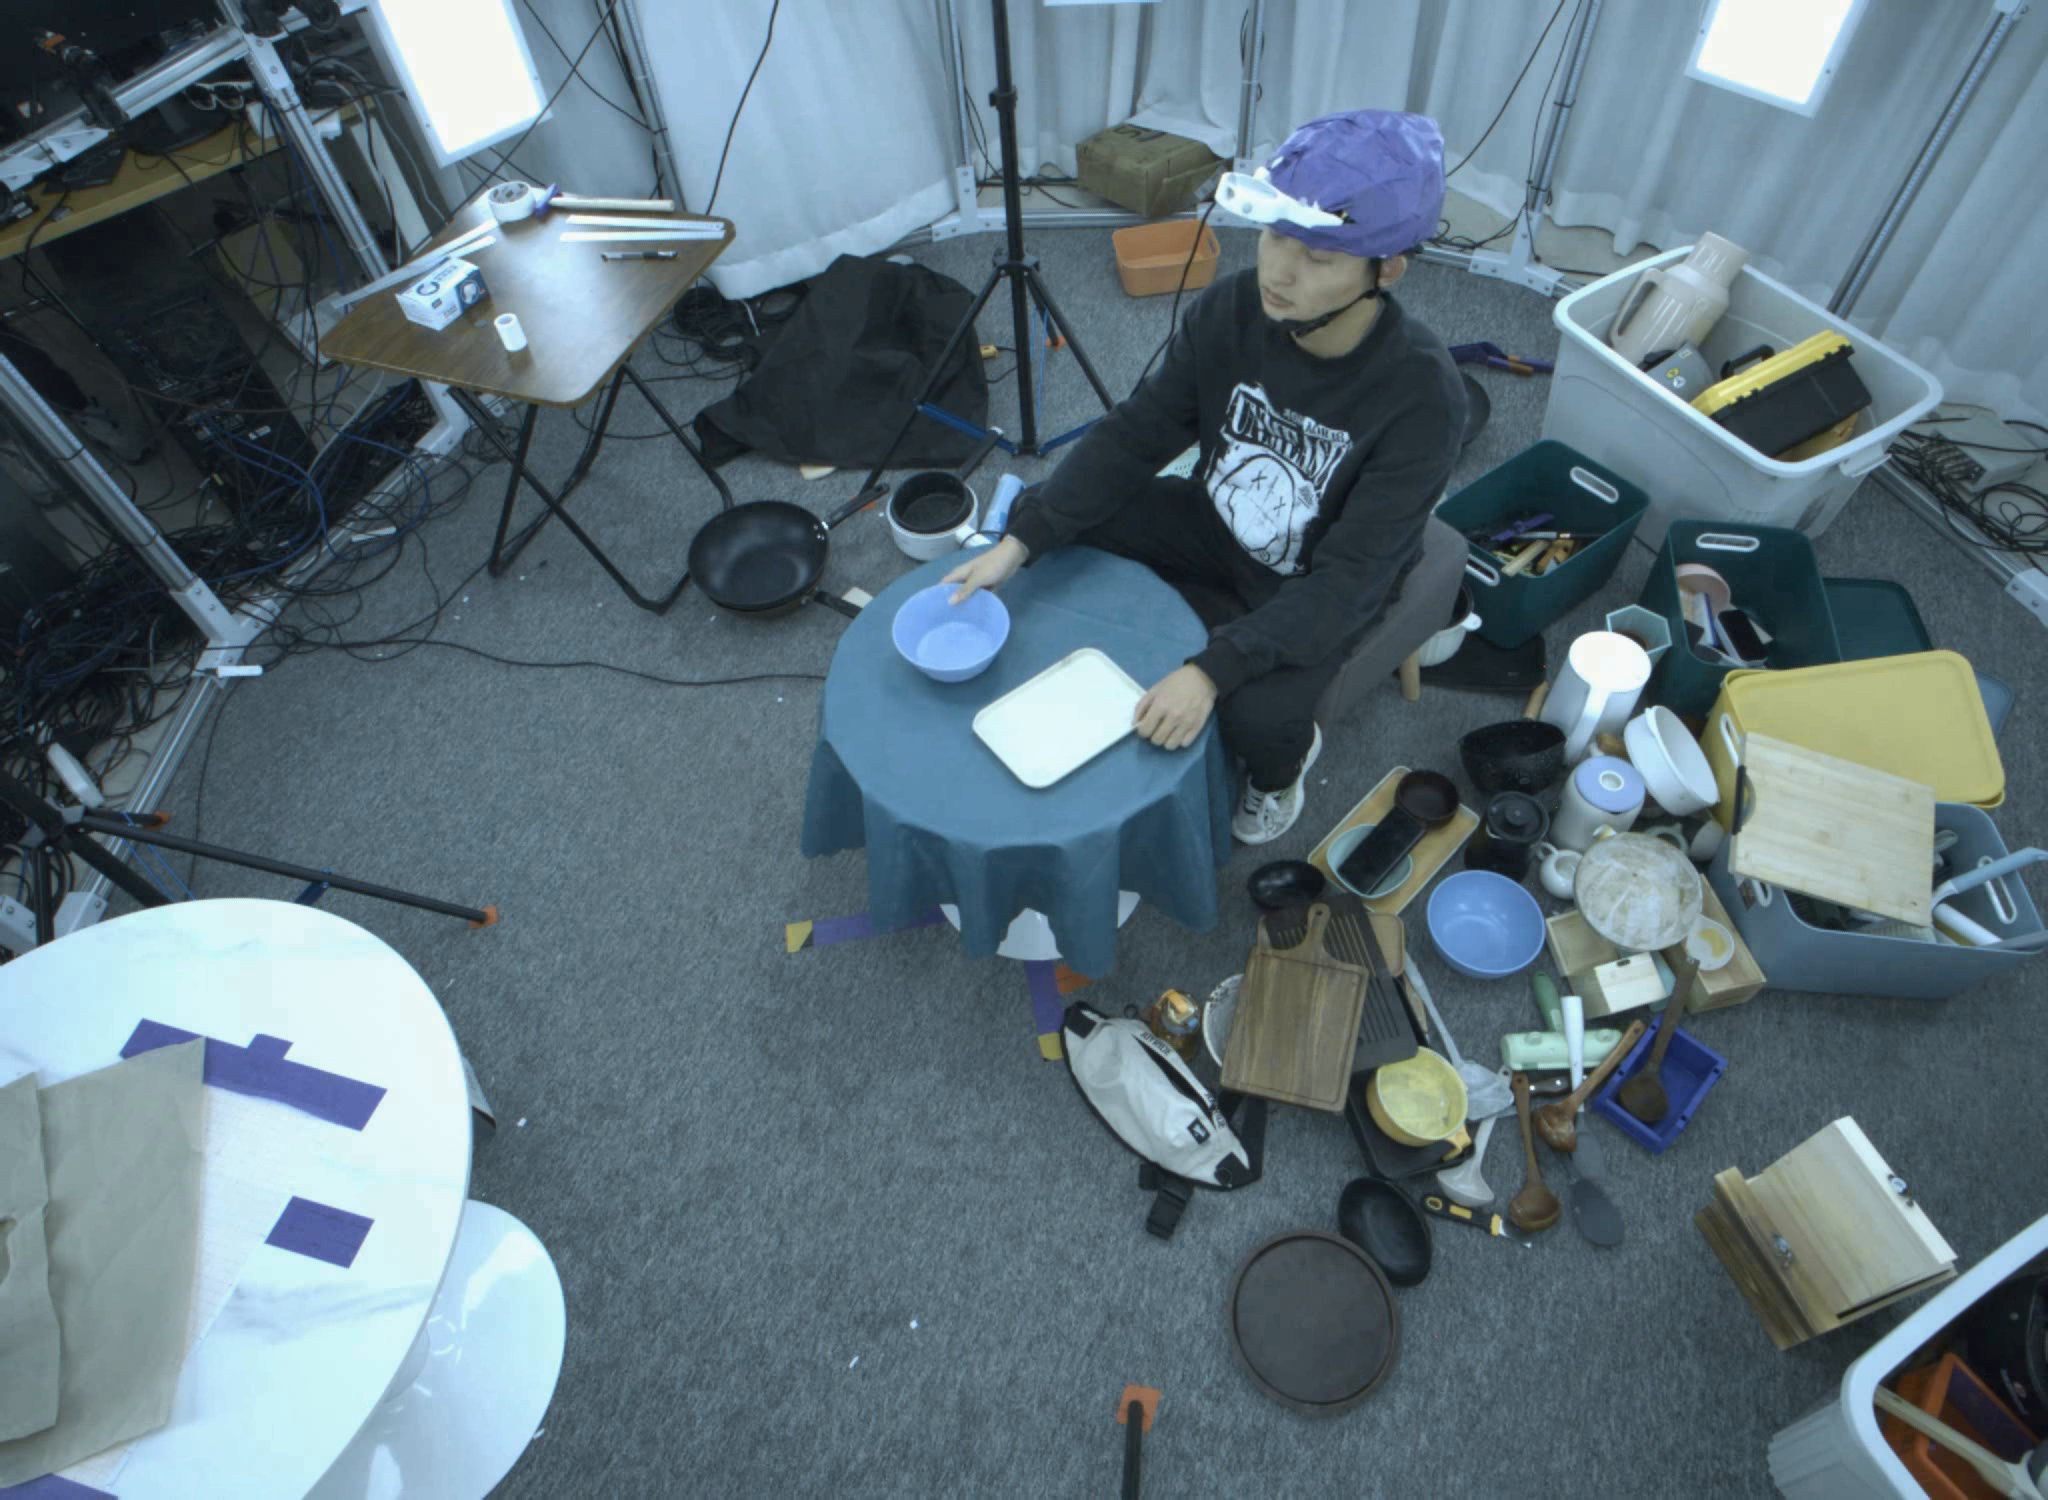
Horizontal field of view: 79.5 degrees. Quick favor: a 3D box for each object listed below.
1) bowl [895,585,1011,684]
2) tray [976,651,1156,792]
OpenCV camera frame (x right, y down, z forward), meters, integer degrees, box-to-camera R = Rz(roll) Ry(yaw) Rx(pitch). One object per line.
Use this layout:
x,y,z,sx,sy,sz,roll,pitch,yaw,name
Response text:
-0.105,-0.166,1.874,0.176,0.071,0.174,-1,56,2,bowl
0.062,-0.043,1.815,0.241,0.017,0.168,-33,61,-20,tray
